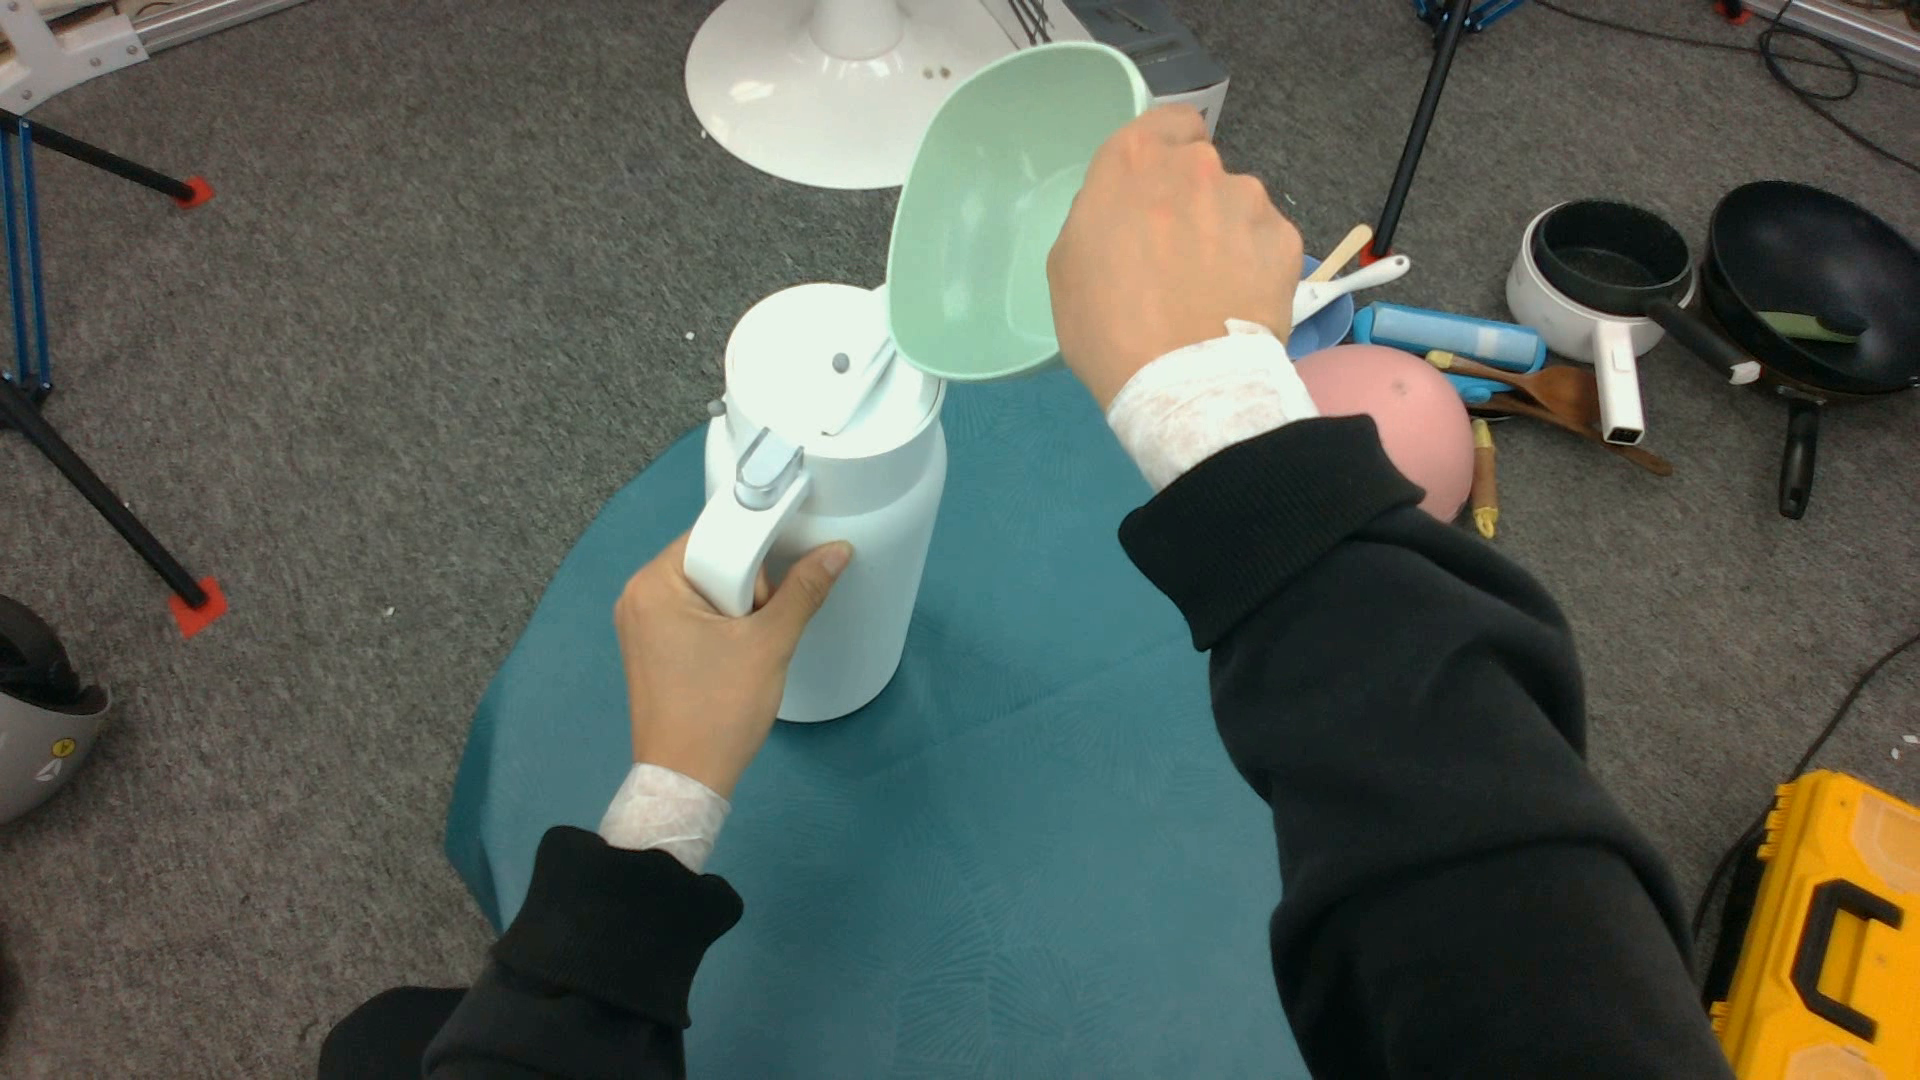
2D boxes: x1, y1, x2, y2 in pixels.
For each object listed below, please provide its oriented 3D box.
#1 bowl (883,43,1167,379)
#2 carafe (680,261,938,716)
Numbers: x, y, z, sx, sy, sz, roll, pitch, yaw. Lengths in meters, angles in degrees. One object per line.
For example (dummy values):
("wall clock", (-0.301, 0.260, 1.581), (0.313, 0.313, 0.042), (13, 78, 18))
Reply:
("bowl", (0.035, -0.129, 0.578), (0.059, 0.151, 0.152), (13, 45, -43))
("carafe", (-0.085, 0.000, 0.709), (0.124, 0.267, 0.173), (27, 58, 4))
